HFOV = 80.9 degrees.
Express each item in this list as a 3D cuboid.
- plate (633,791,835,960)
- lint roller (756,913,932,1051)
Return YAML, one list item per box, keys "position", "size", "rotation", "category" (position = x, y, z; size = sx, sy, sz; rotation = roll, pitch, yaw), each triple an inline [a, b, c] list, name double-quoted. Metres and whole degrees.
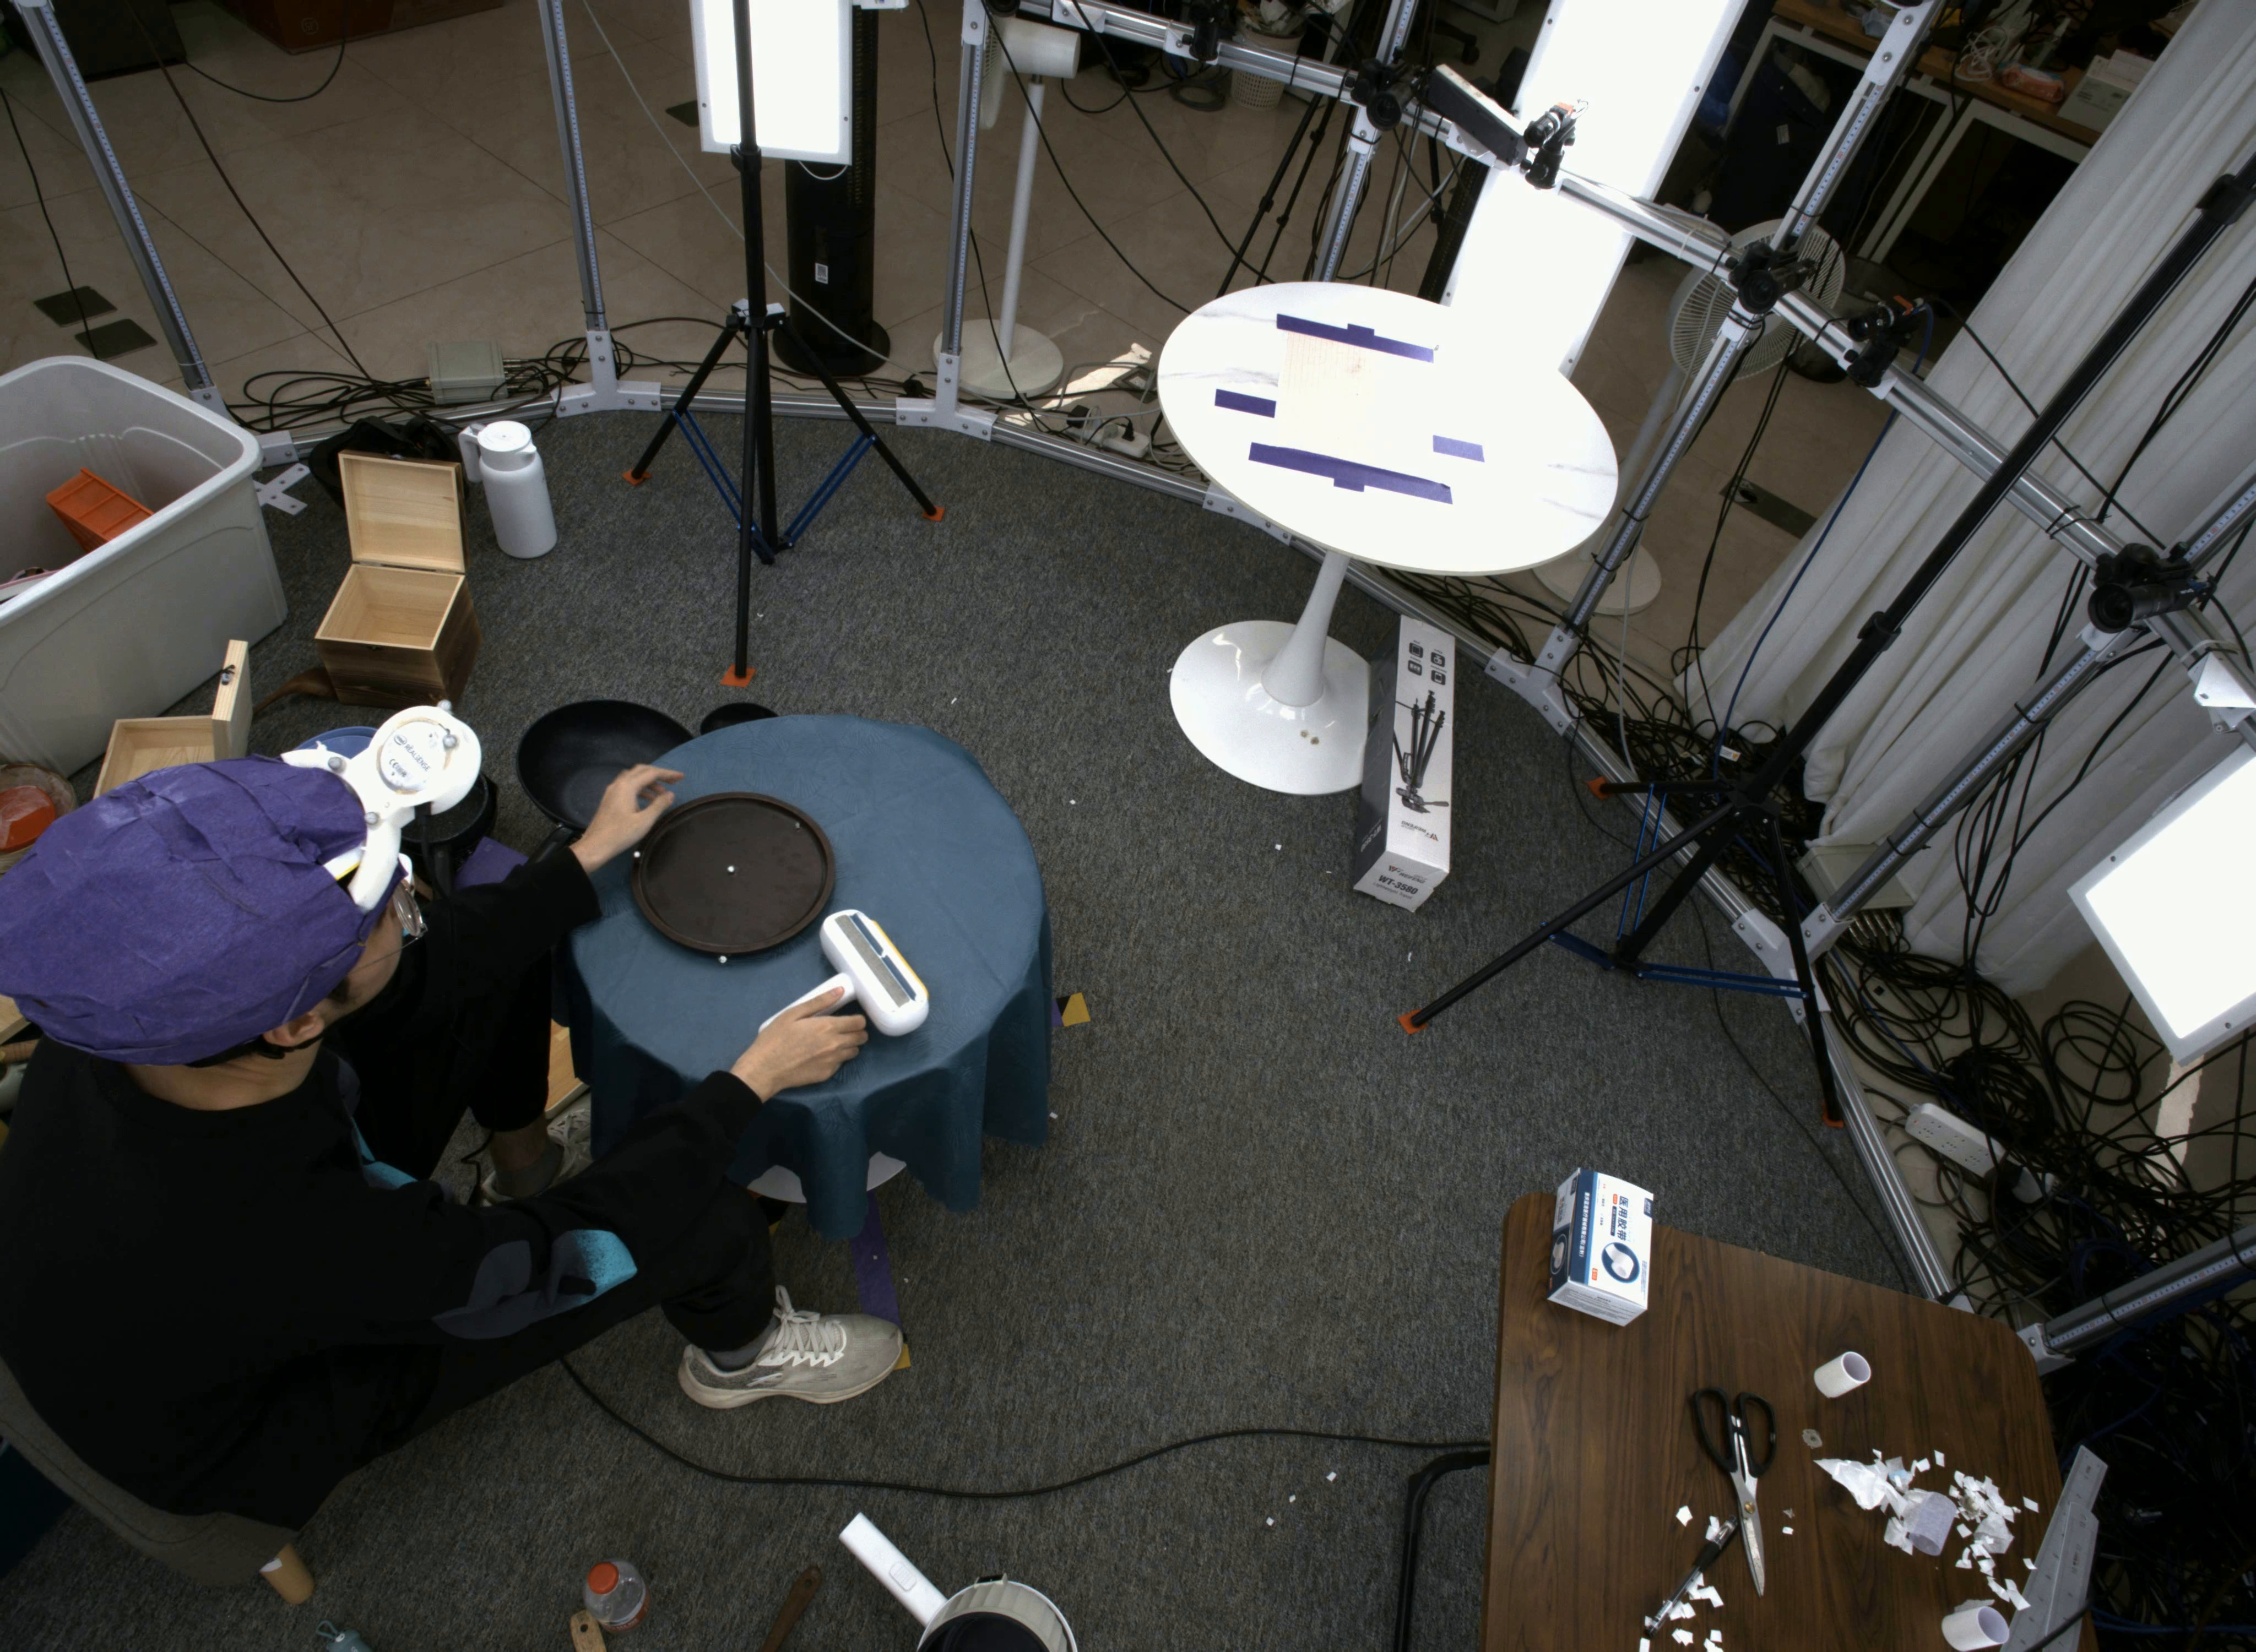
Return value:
- position: [-0.502, 0.060, 1.650]
  size: [0.254, 0.029, 0.250]
  rotation: [7, 54, -8]
  category: "plate"
- position: [-0.354, 0.204, 1.554]
  size: [0.193, 0.076, 0.187]
  rotation: [-22, 56, -26]
  category: "lint roller"
